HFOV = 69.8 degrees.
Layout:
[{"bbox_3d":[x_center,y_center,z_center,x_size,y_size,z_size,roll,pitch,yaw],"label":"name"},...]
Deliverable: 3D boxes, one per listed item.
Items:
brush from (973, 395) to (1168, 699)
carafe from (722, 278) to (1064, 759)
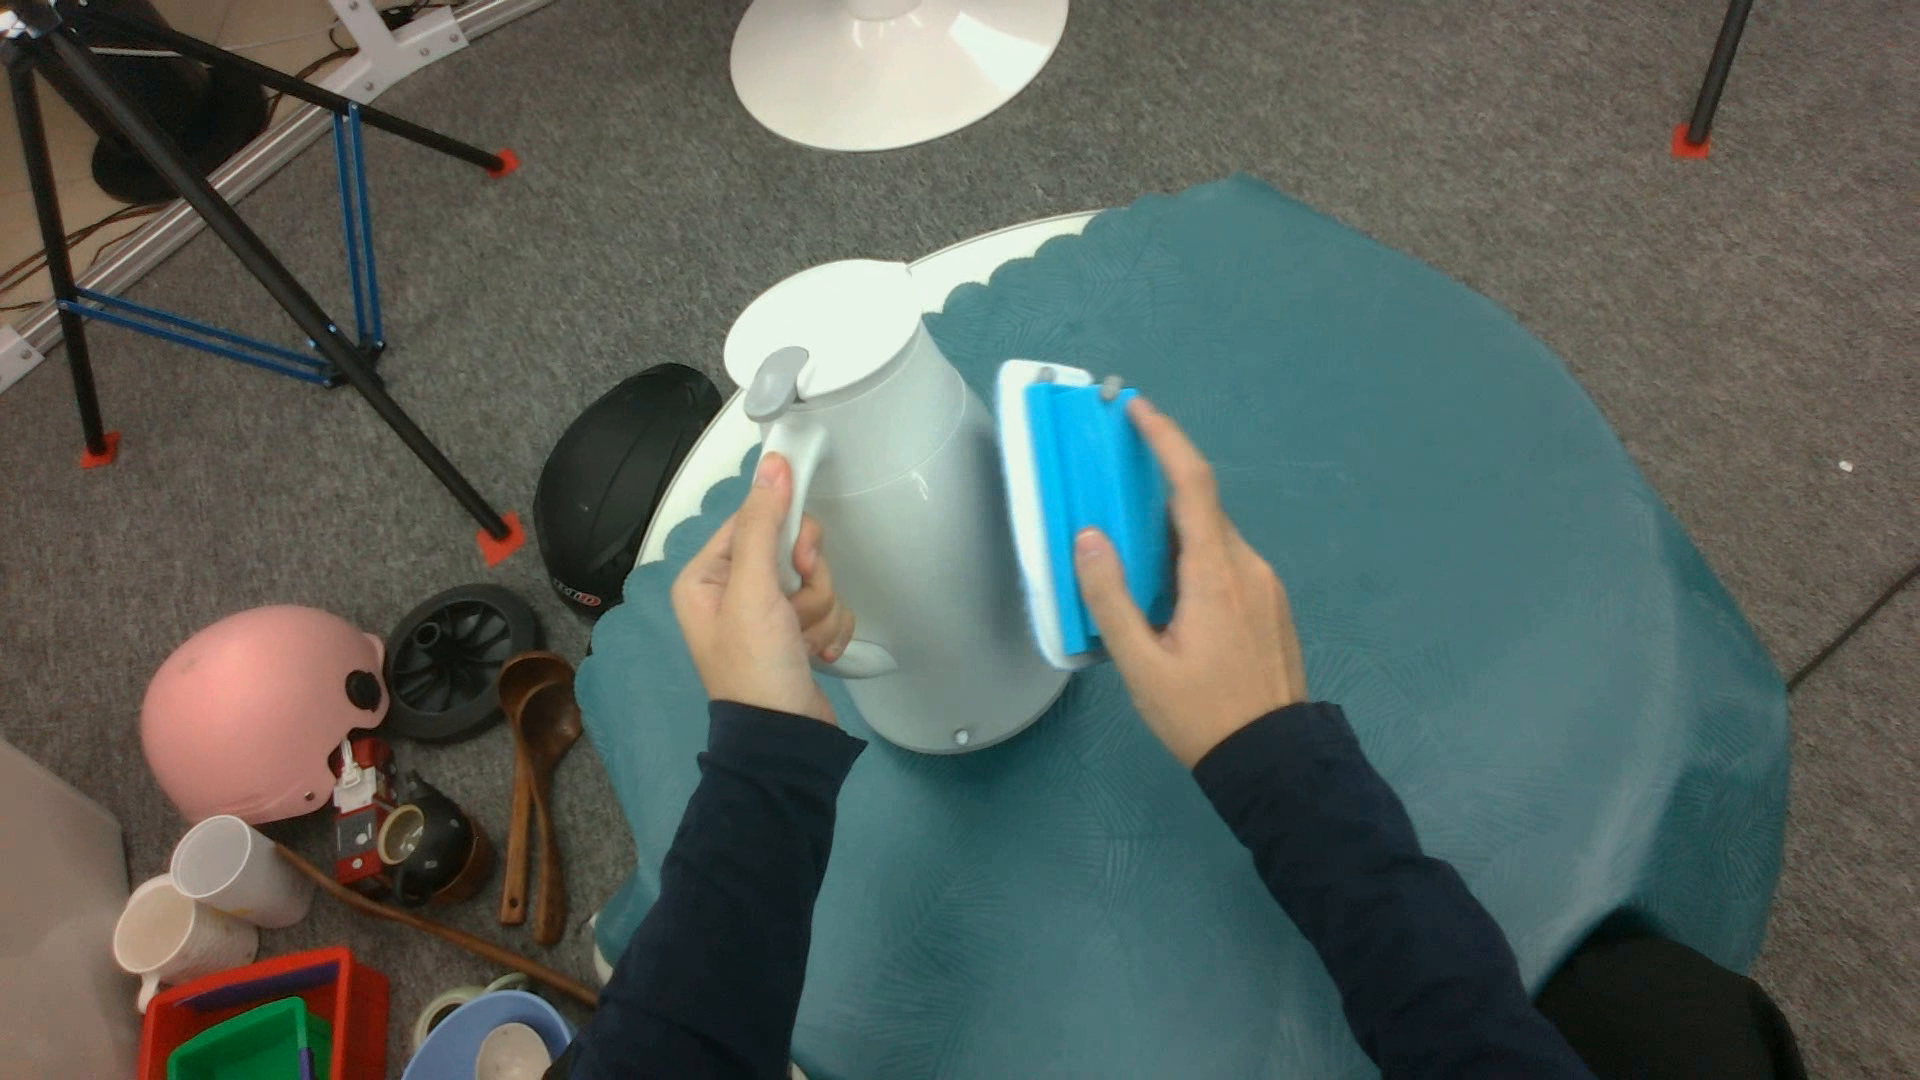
[{"bbox_3d":[0.057,-0.002,0.631,0.055,0.084,0.144,-20,81,39],"label":"brush"},{"bbox_3d":[-0.036,0.003,0.685,0.132,0.248,0.168,4,51,24],"label":"carafe"}]
